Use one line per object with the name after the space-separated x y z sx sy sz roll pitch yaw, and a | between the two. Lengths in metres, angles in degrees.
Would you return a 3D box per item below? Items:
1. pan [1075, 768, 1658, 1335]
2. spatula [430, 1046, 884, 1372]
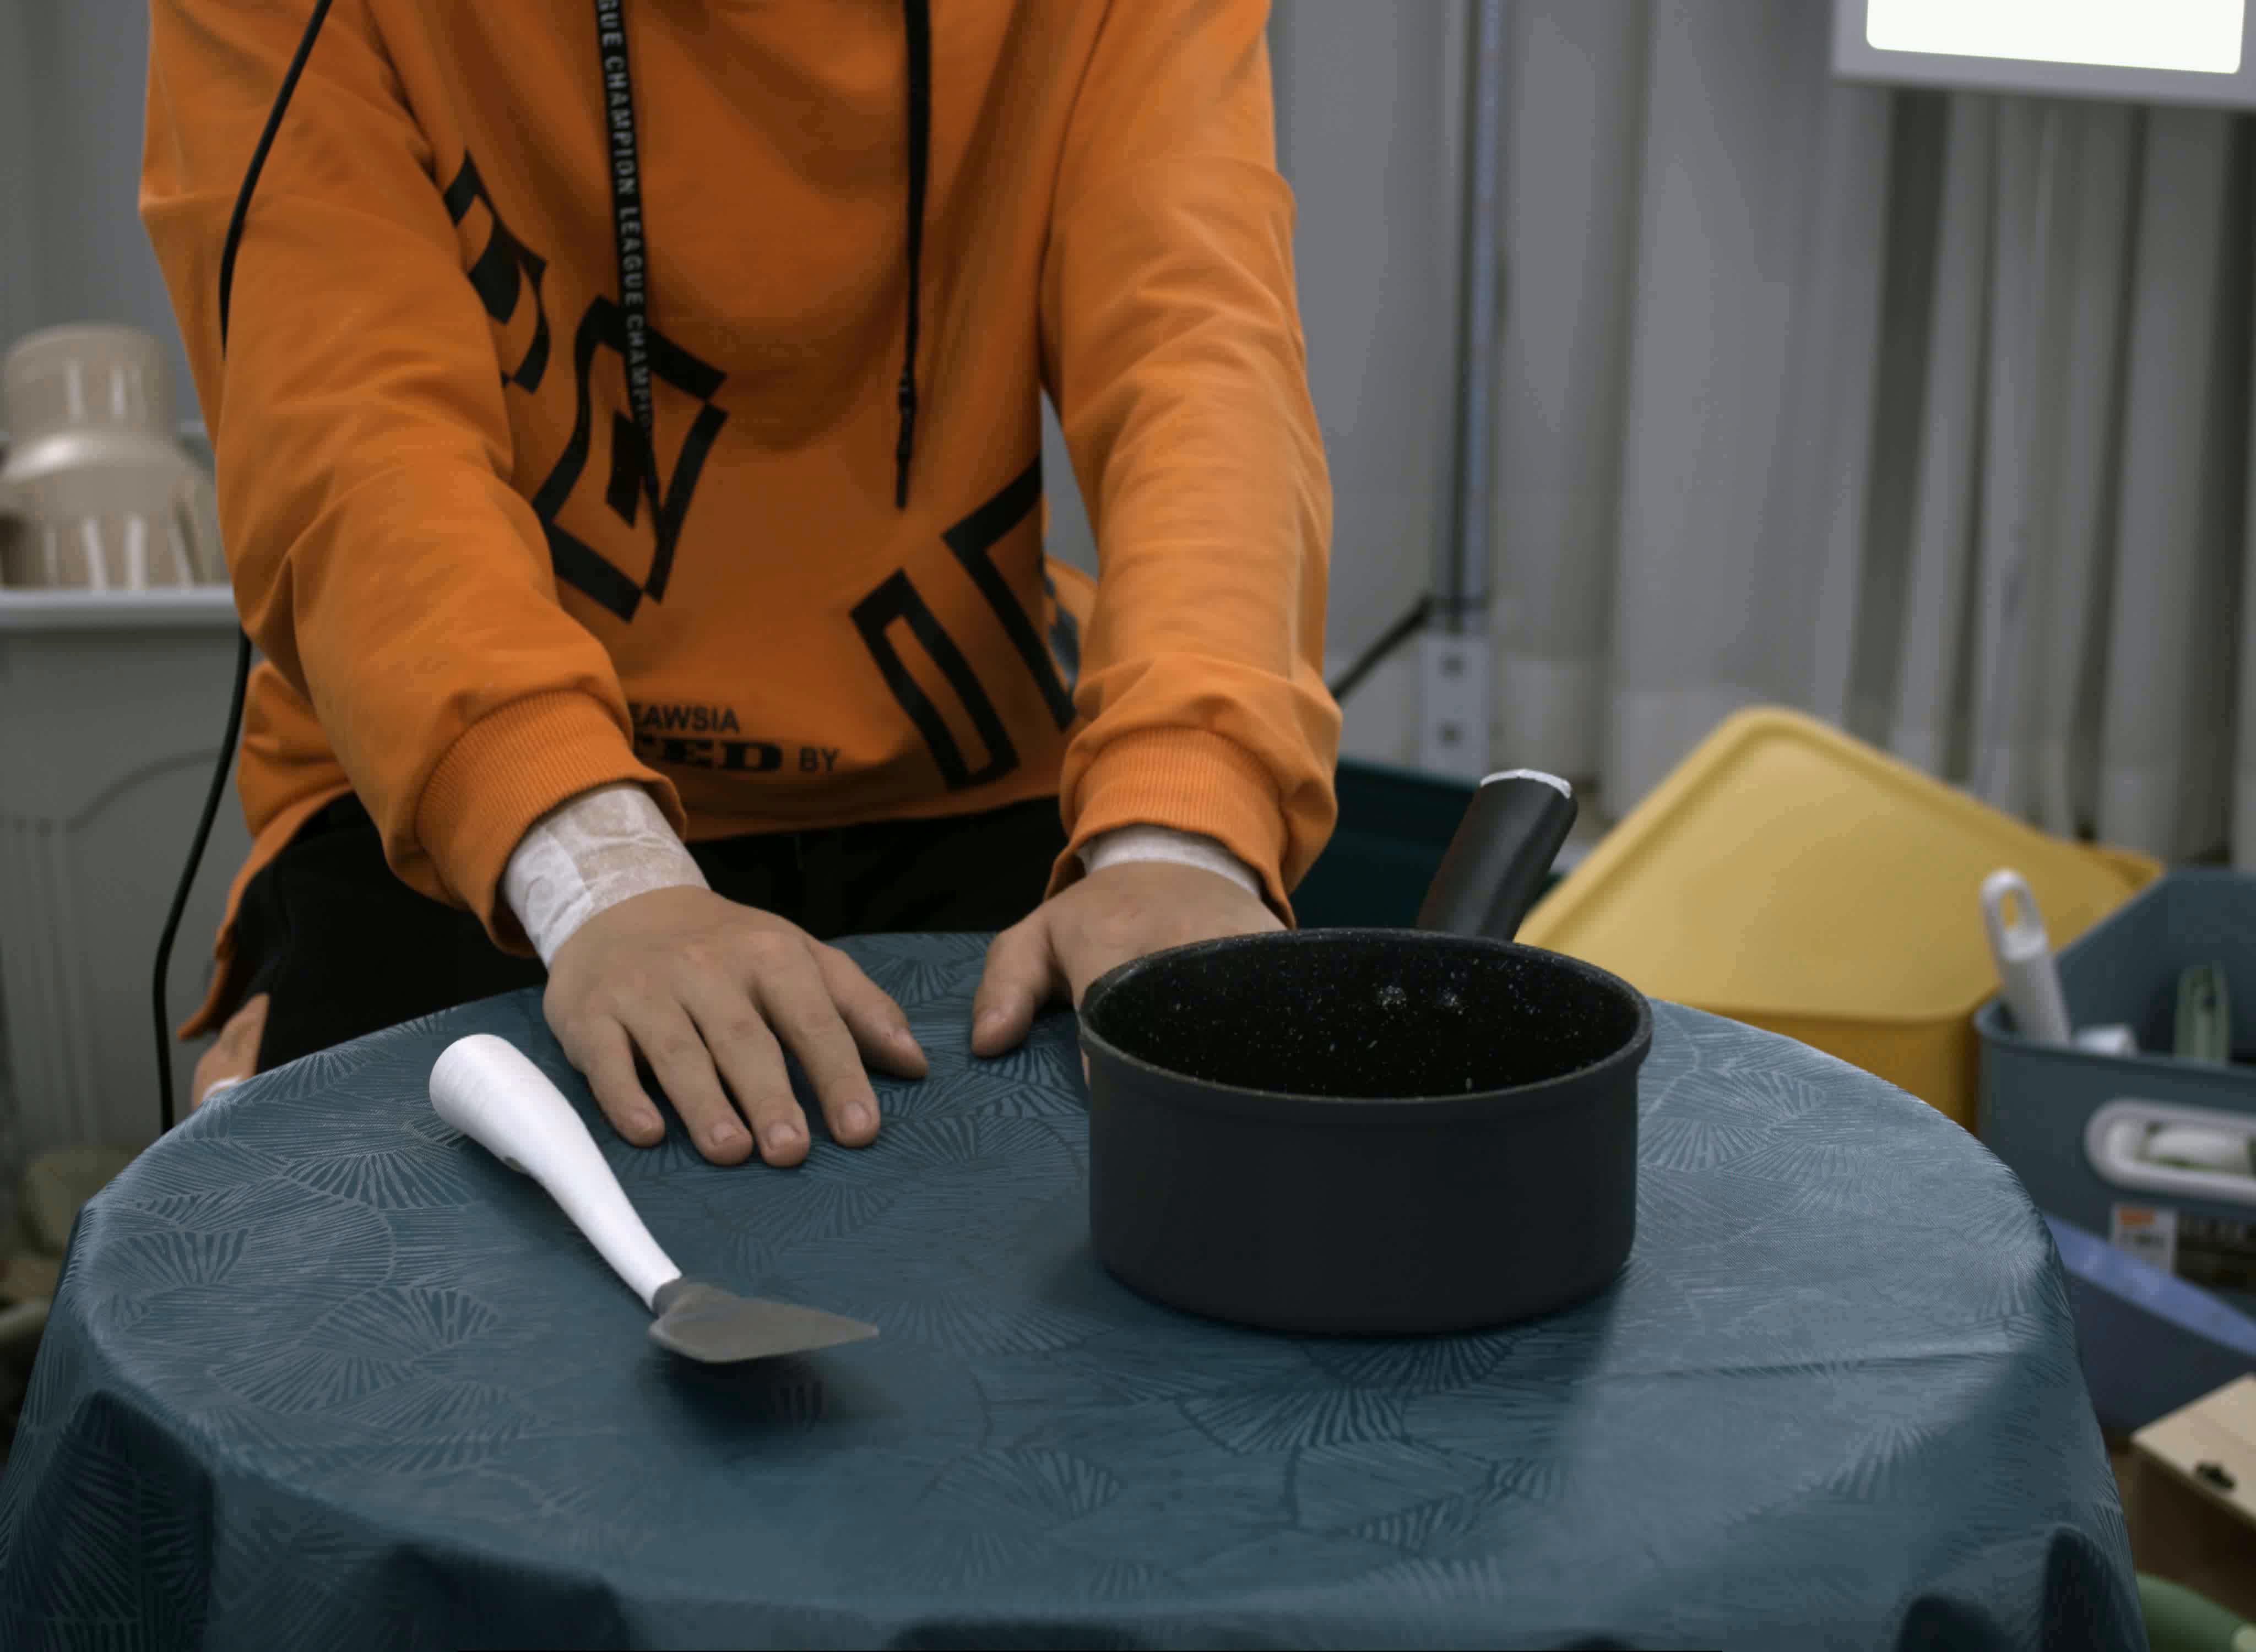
0.095 0.066 1.634 0.170 0.087 0.328 6 18 17 | pan
-0.146 0.117 1.542 0.059 0.032 0.284 -4 15 -25 | spatula
